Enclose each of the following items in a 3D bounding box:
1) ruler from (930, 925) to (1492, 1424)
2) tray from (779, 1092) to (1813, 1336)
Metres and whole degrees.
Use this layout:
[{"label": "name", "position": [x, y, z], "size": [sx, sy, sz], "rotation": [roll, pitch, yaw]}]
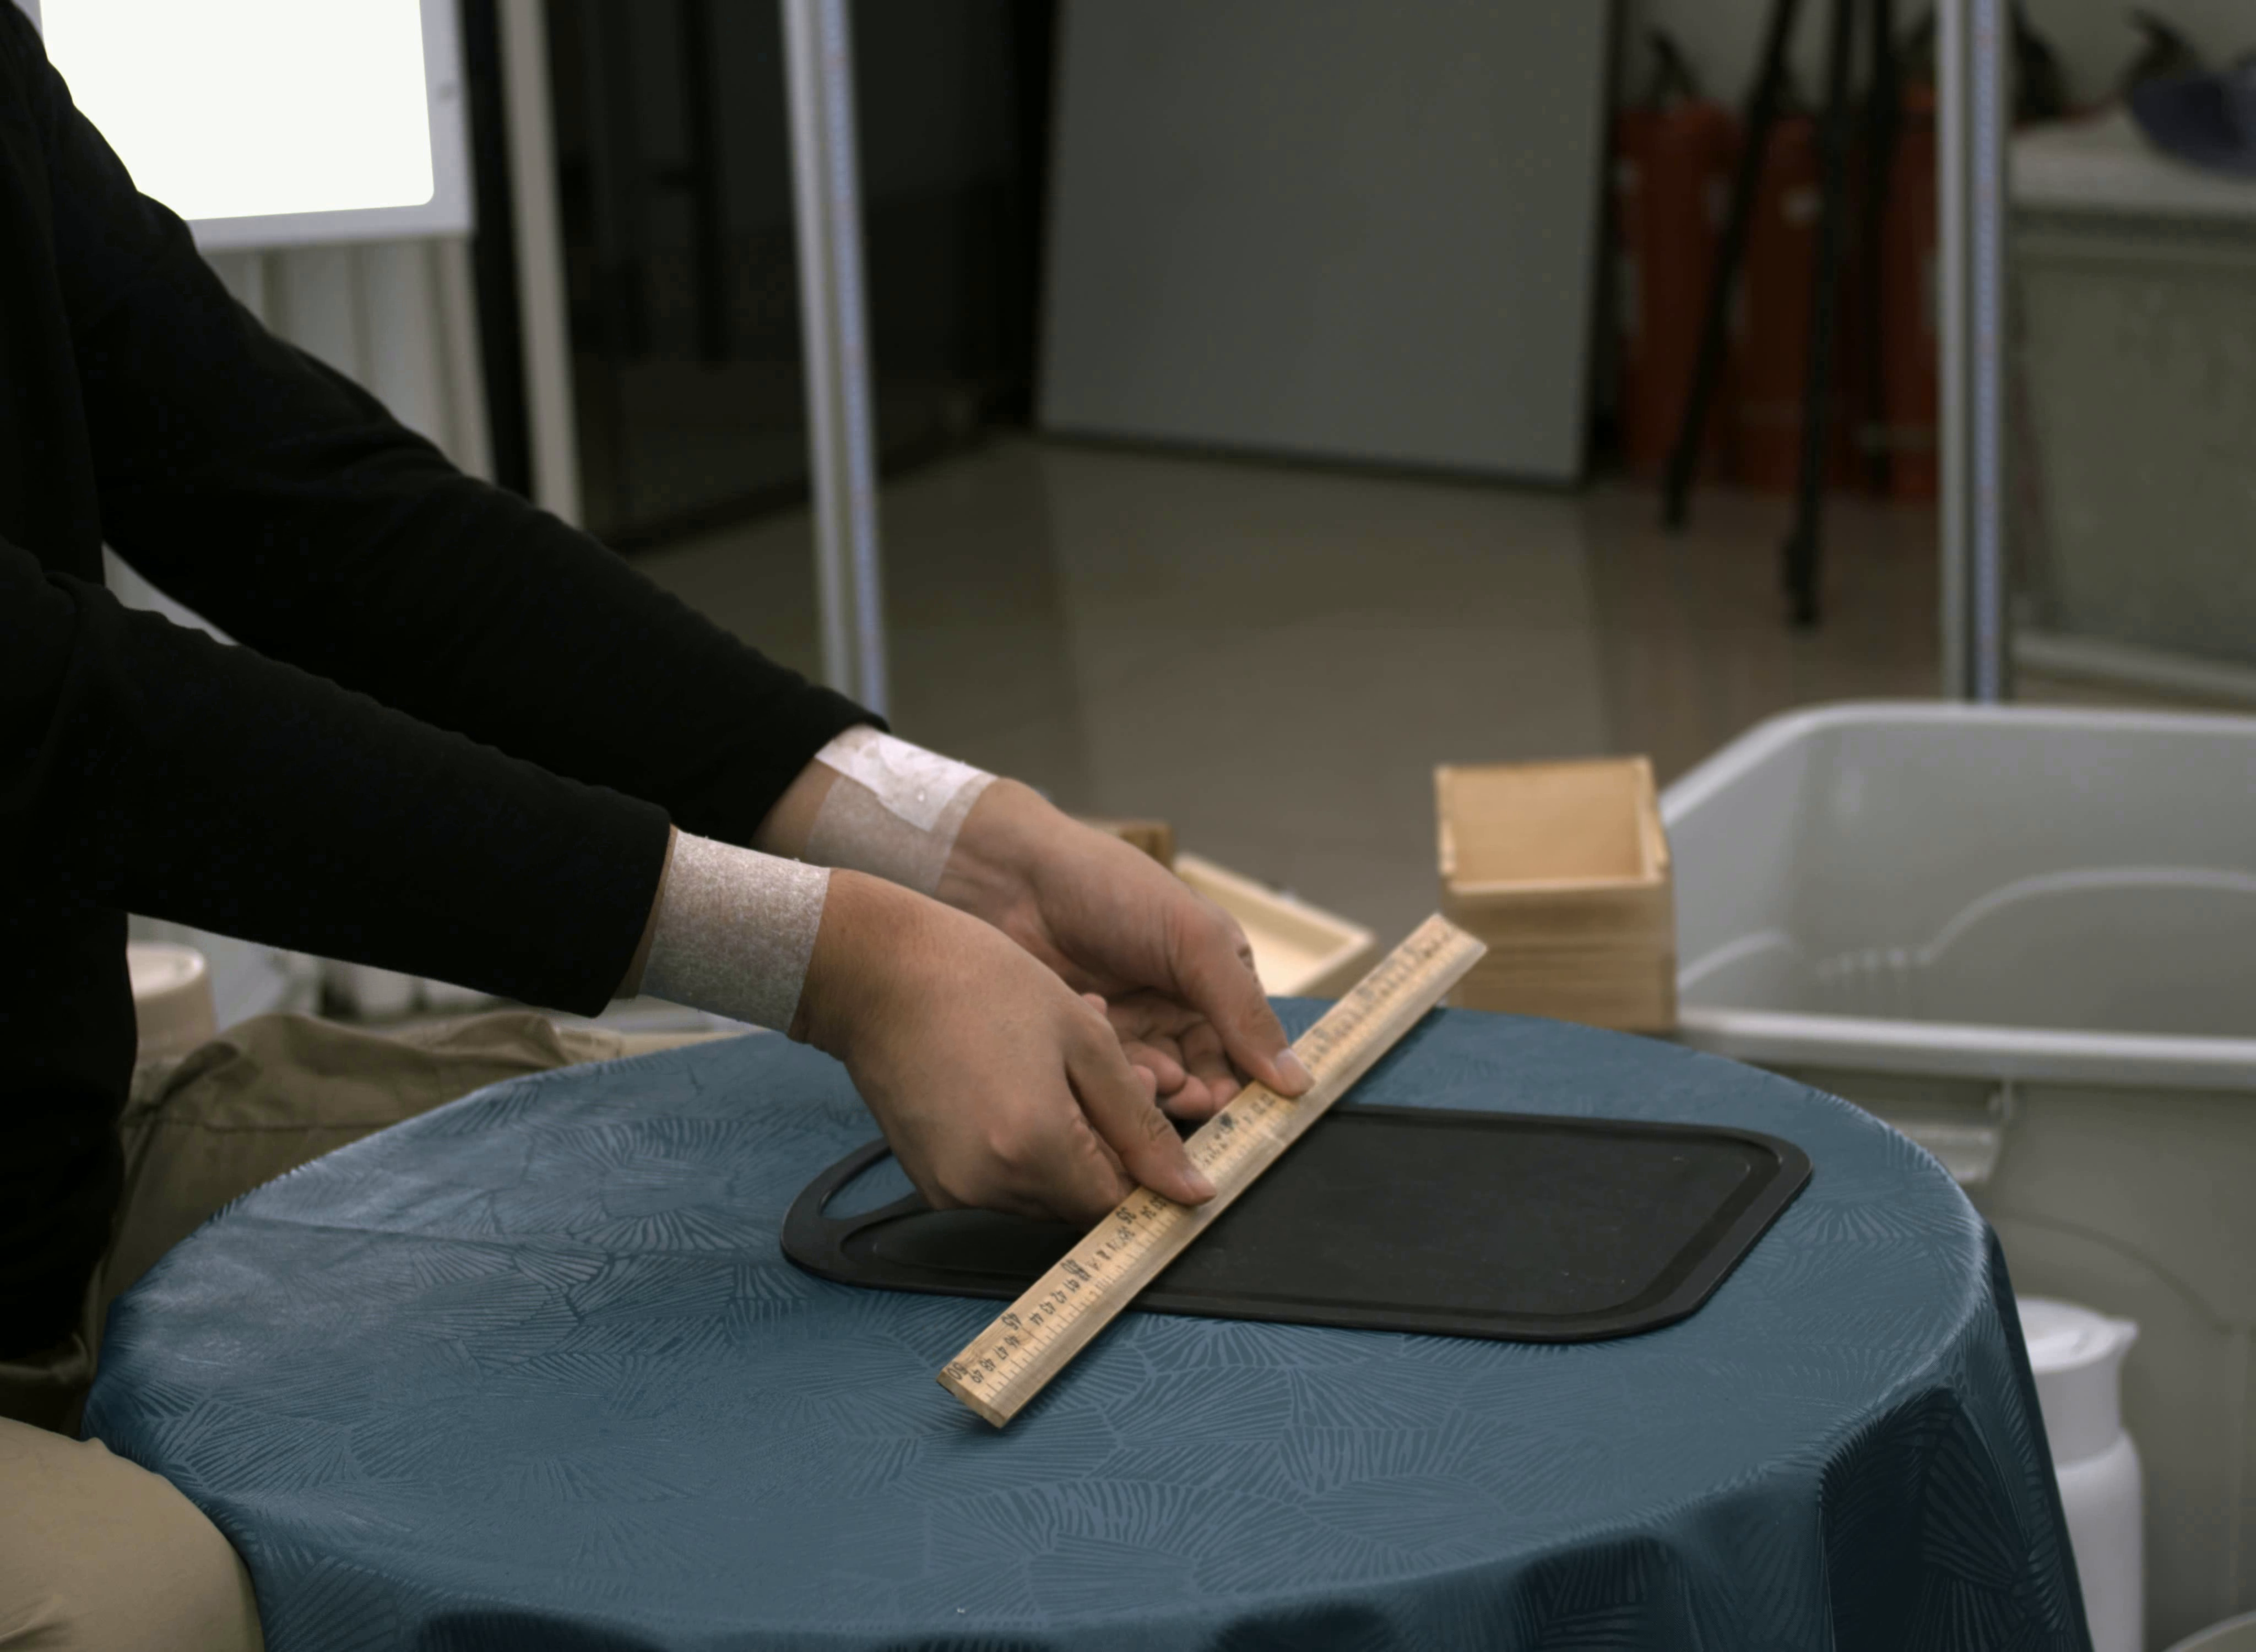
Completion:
[{"label": "ruler", "position": [0.038, 0.104, 1.778], "size": [0.027, 0.006, 0.495], "rotation": [34, 23, 10]}, {"label": "tray", "position": [0.048, 0.121, 1.741], "size": [0.325, 0.010, 0.208], "rotation": [2, 15, 24]}]
